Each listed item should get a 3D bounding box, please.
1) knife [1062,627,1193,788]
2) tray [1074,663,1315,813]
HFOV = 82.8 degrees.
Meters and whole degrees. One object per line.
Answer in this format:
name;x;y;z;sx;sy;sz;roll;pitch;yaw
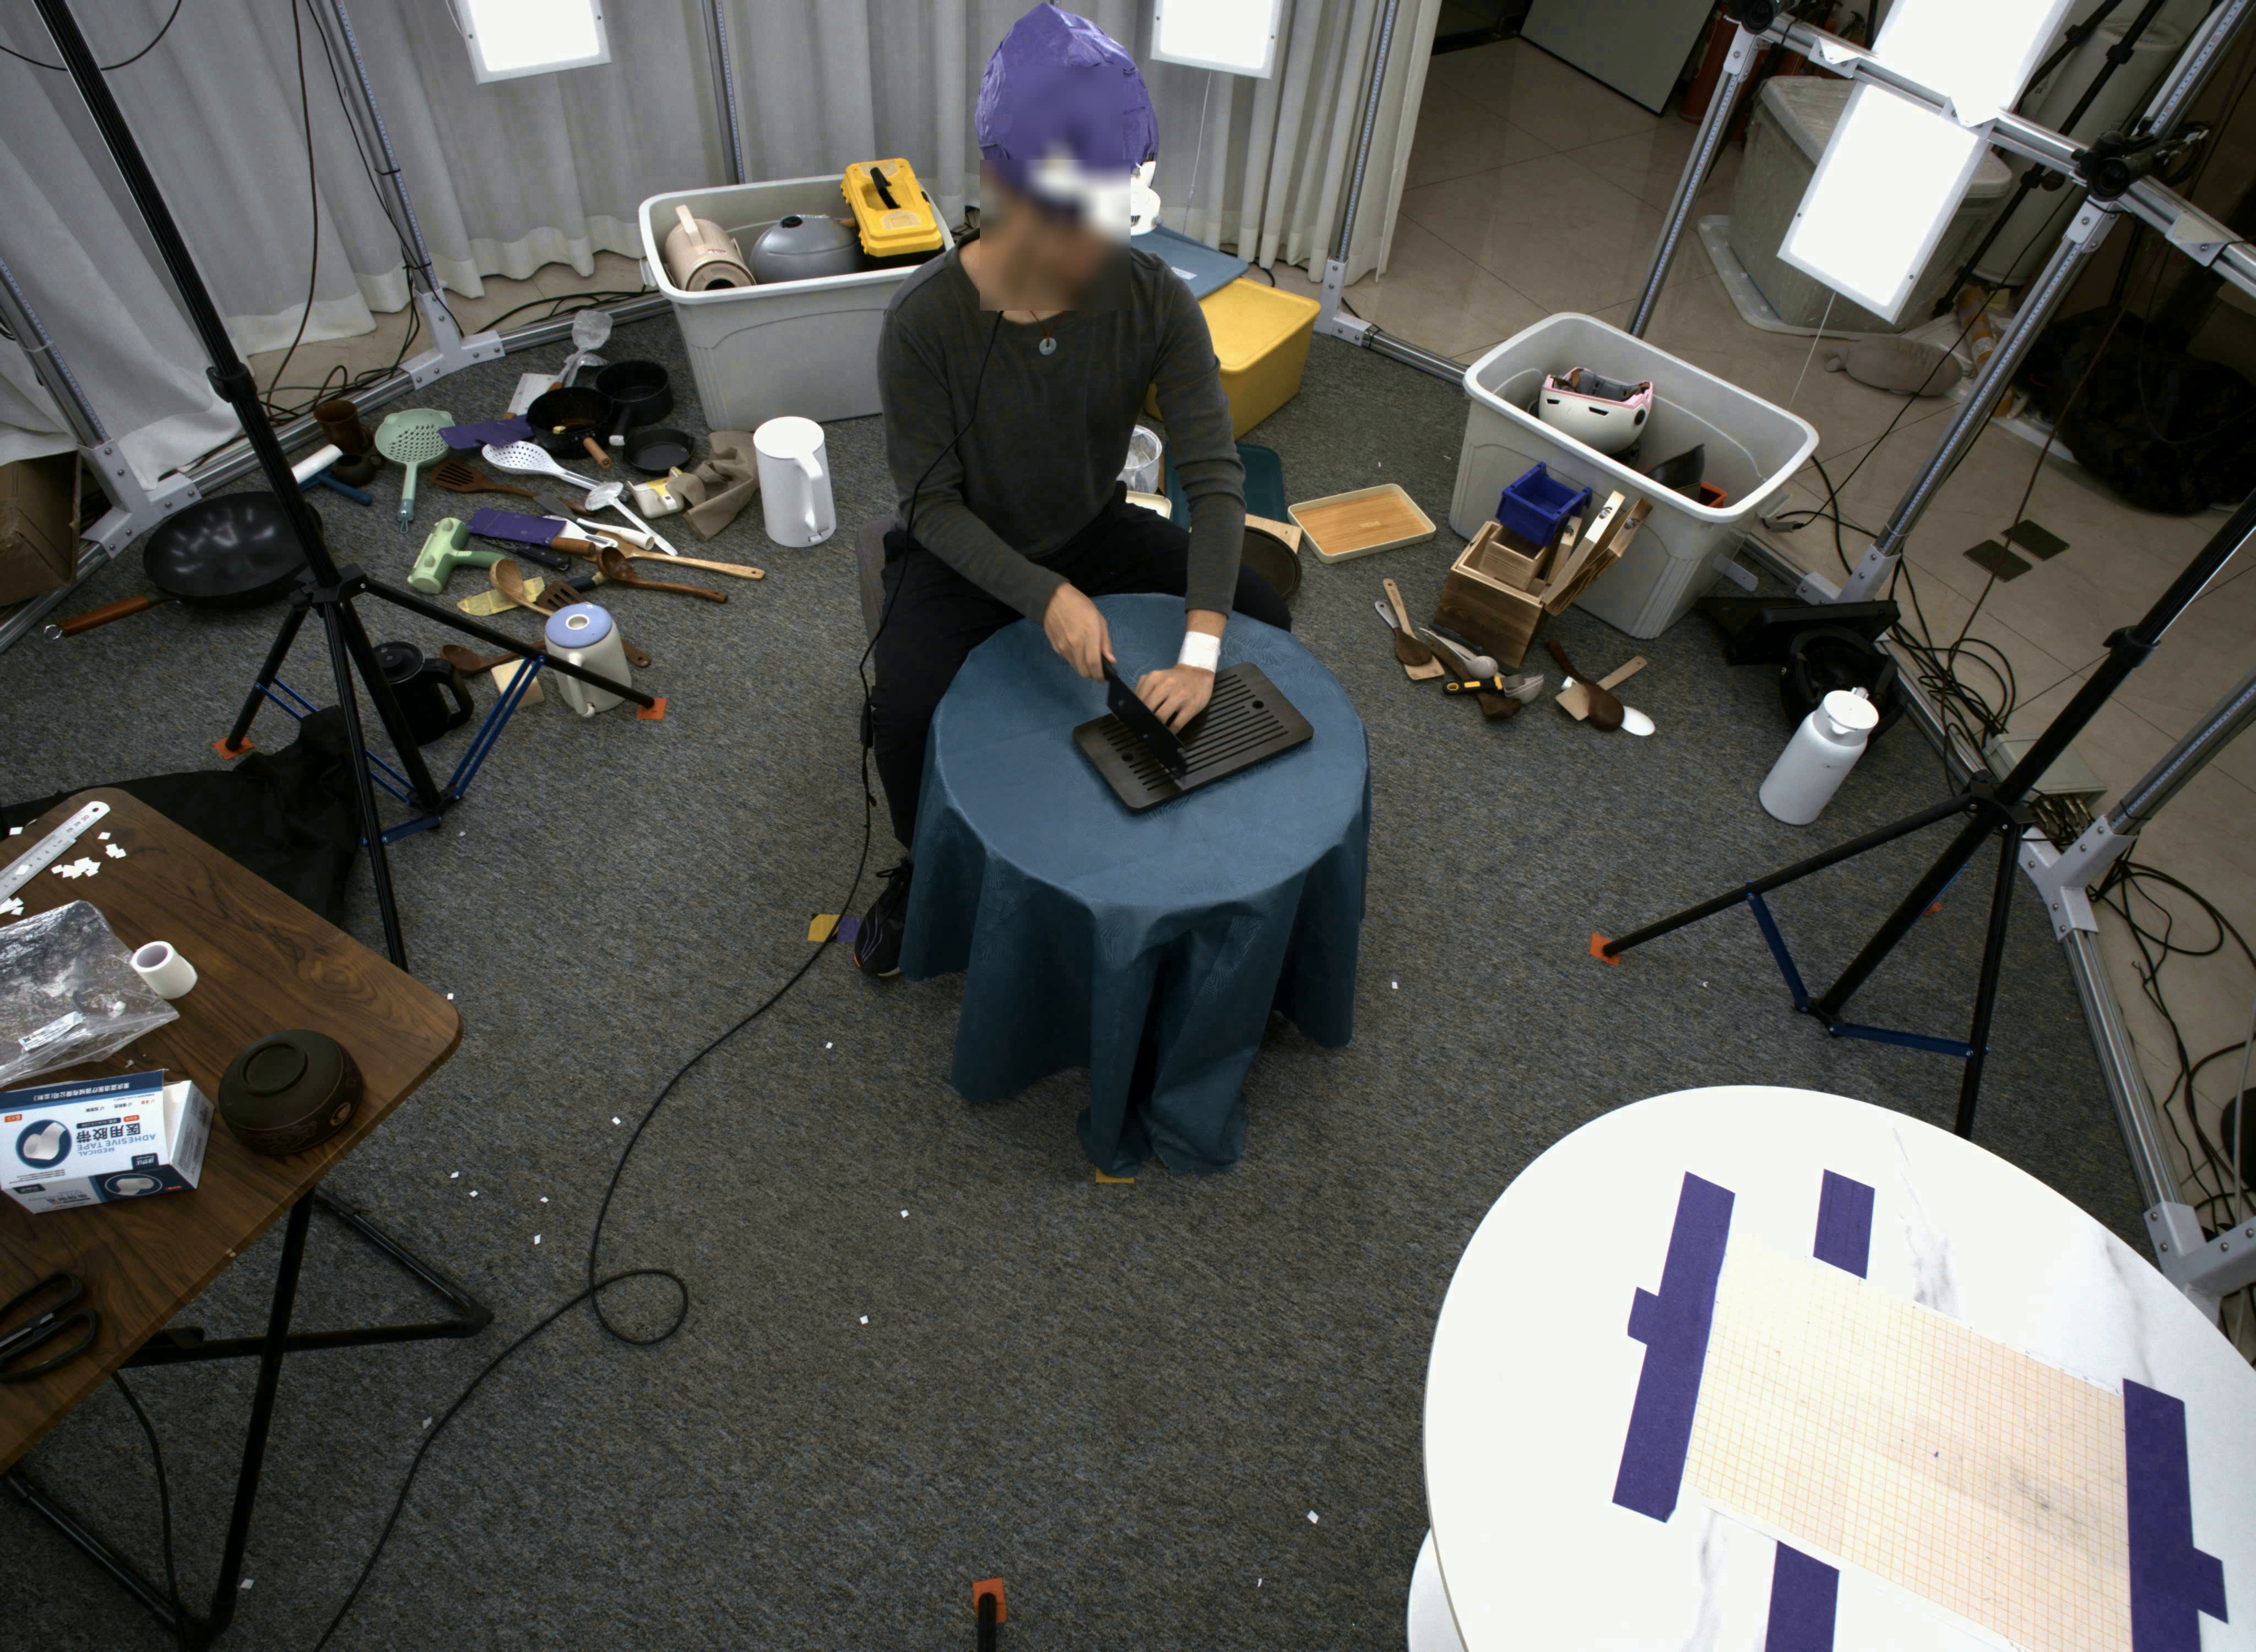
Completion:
knife;-0.004;-0.169;1.742;0.021;0.079;0.308;-21;58;-28
tray;0.093;-0.124;1.770;0.307;0.018;0.174;-22;53;-22
